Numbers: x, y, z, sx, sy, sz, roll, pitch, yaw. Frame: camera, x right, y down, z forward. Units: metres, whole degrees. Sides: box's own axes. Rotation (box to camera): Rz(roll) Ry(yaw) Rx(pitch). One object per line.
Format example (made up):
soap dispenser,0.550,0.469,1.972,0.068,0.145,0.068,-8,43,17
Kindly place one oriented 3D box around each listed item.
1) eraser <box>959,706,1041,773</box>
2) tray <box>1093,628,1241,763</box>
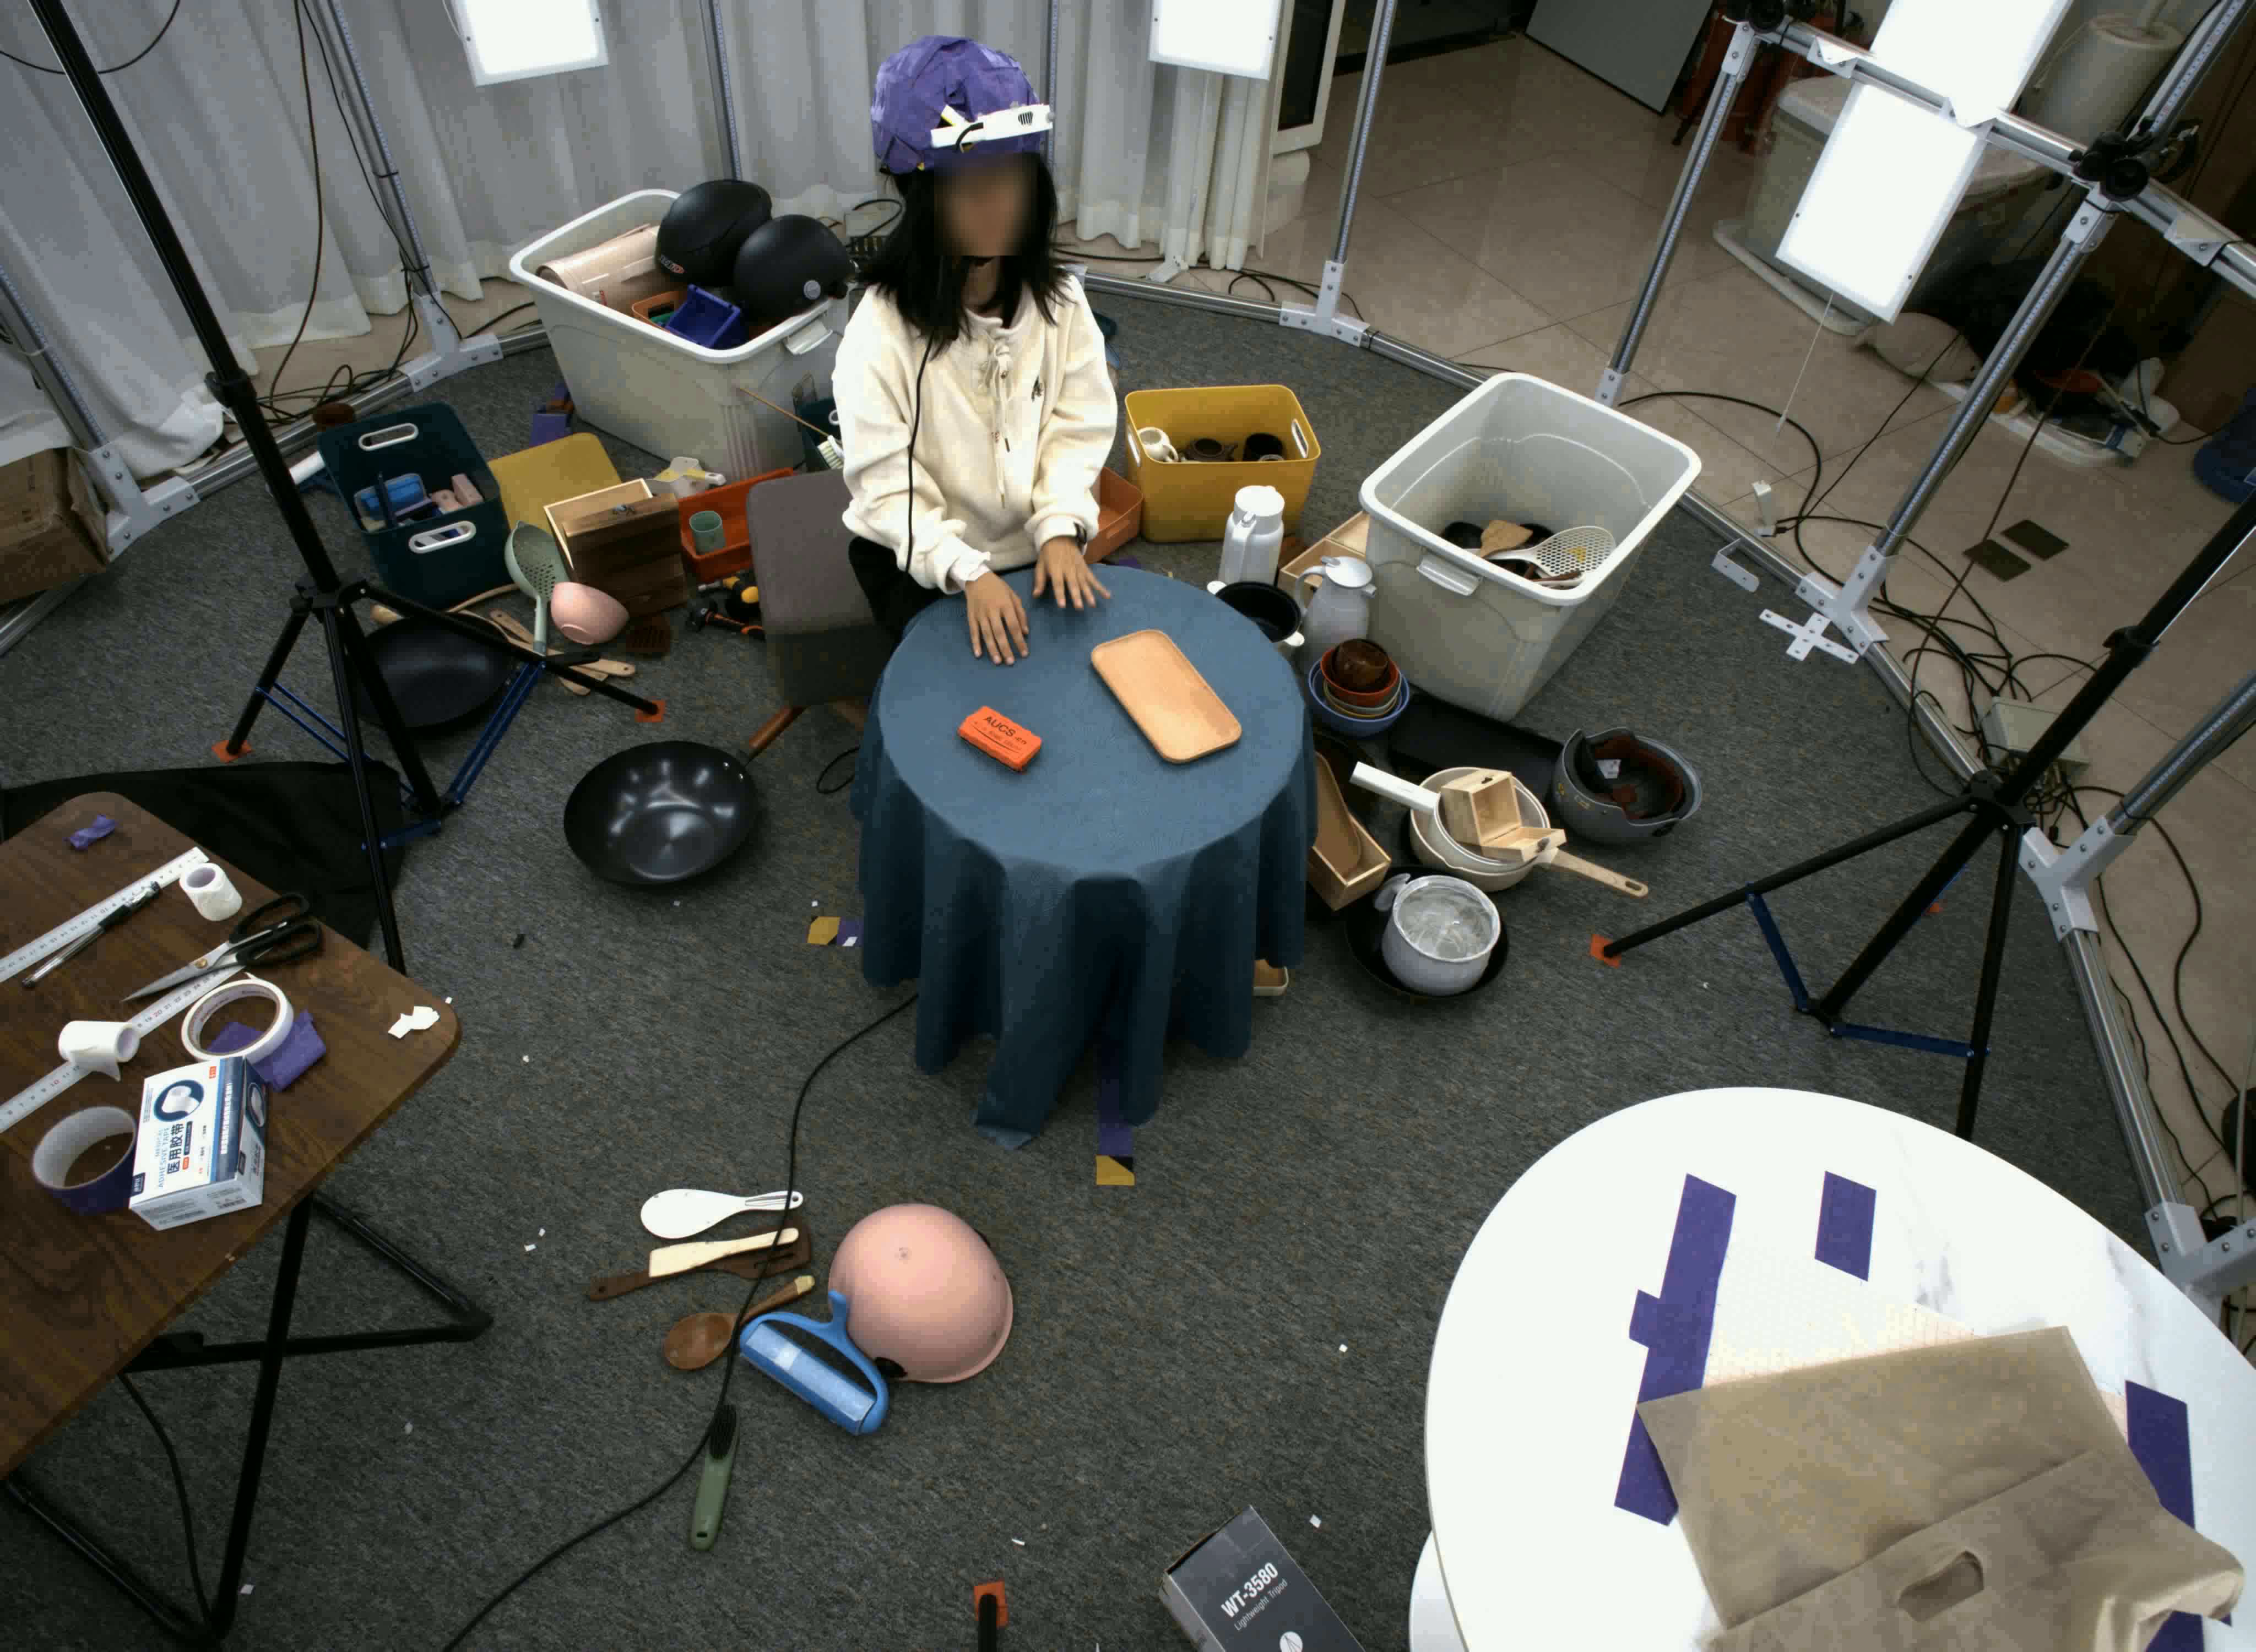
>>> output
eraser,-0.174,-0.118,1.746,0.109,0.022,0.060,32,56,21
tray,0.053,-0.189,1.825,0.131,0.022,0.256,-18,52,-21
